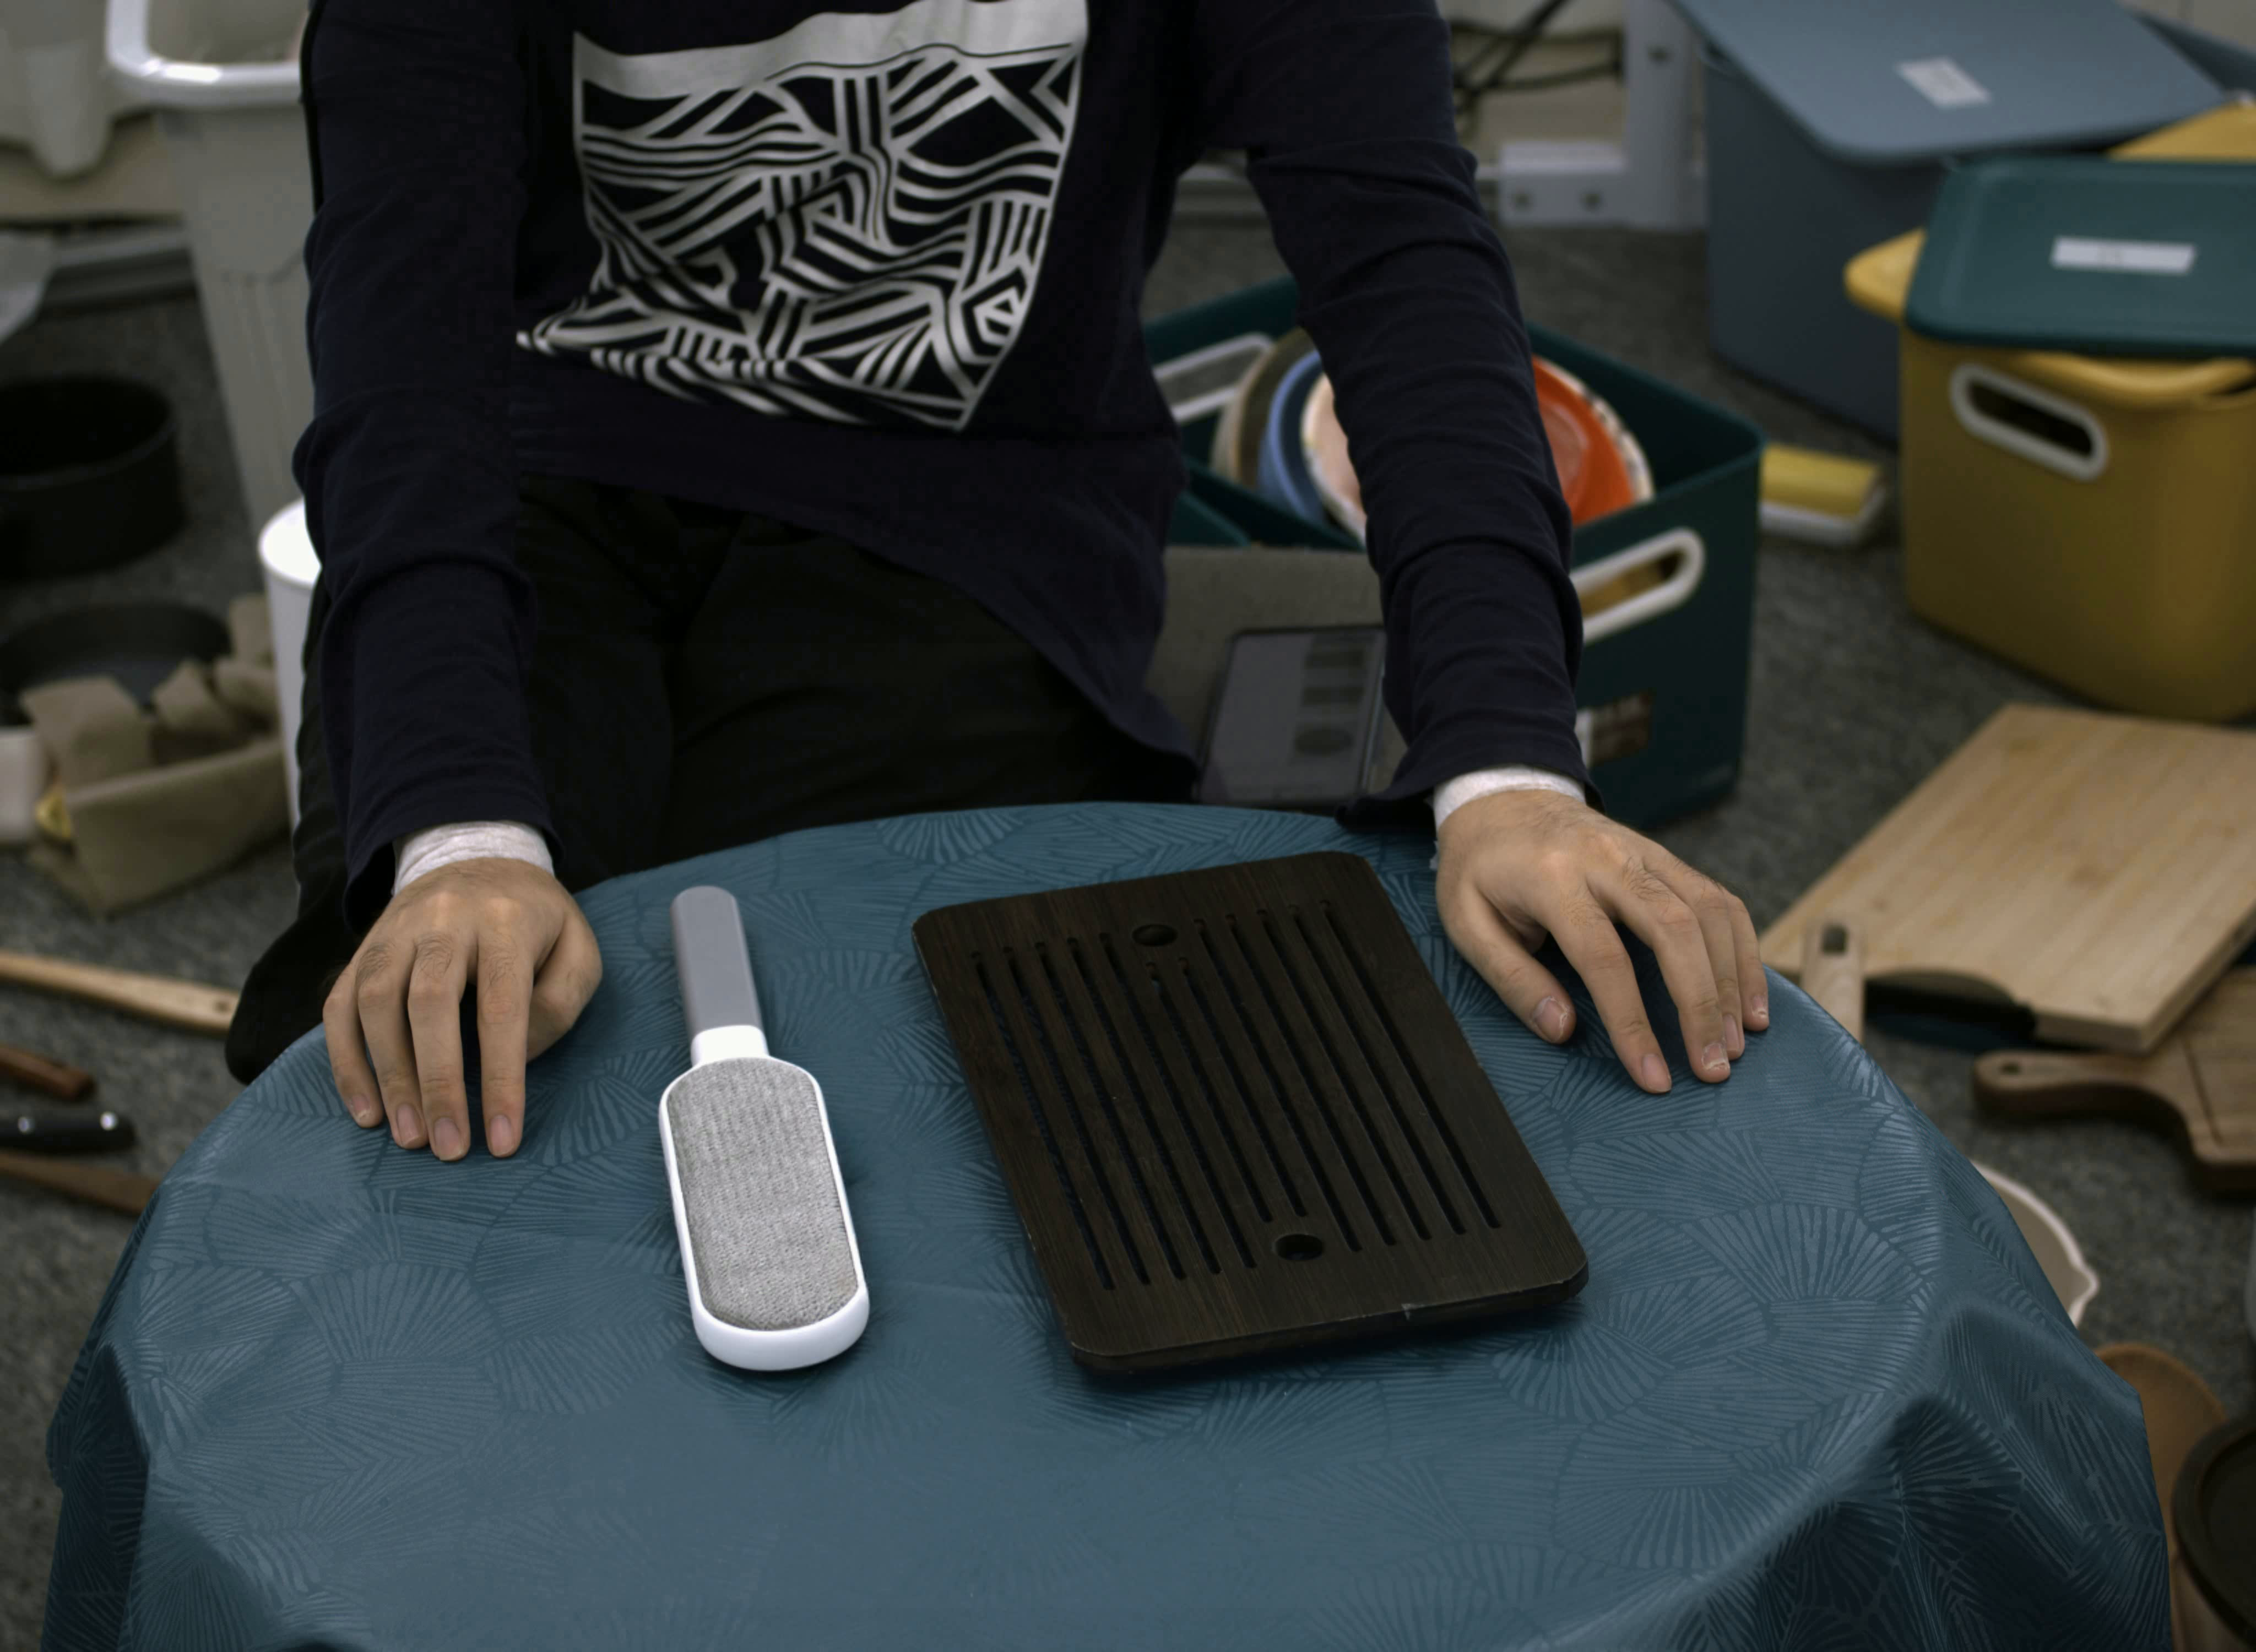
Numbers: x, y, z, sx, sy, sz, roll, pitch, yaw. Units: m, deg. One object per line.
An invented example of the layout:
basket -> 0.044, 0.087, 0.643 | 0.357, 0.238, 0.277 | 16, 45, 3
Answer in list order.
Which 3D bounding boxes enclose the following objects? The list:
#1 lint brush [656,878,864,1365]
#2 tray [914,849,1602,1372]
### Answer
lint brush -> -0.130, 0.095, 1.897 | 0.060, 0.021, 0.313 | -11, 28, -4
tray -> 0.037, 0.093, 1.895 | 0.170, 0.018, 0.309 | -8, 28, -10
